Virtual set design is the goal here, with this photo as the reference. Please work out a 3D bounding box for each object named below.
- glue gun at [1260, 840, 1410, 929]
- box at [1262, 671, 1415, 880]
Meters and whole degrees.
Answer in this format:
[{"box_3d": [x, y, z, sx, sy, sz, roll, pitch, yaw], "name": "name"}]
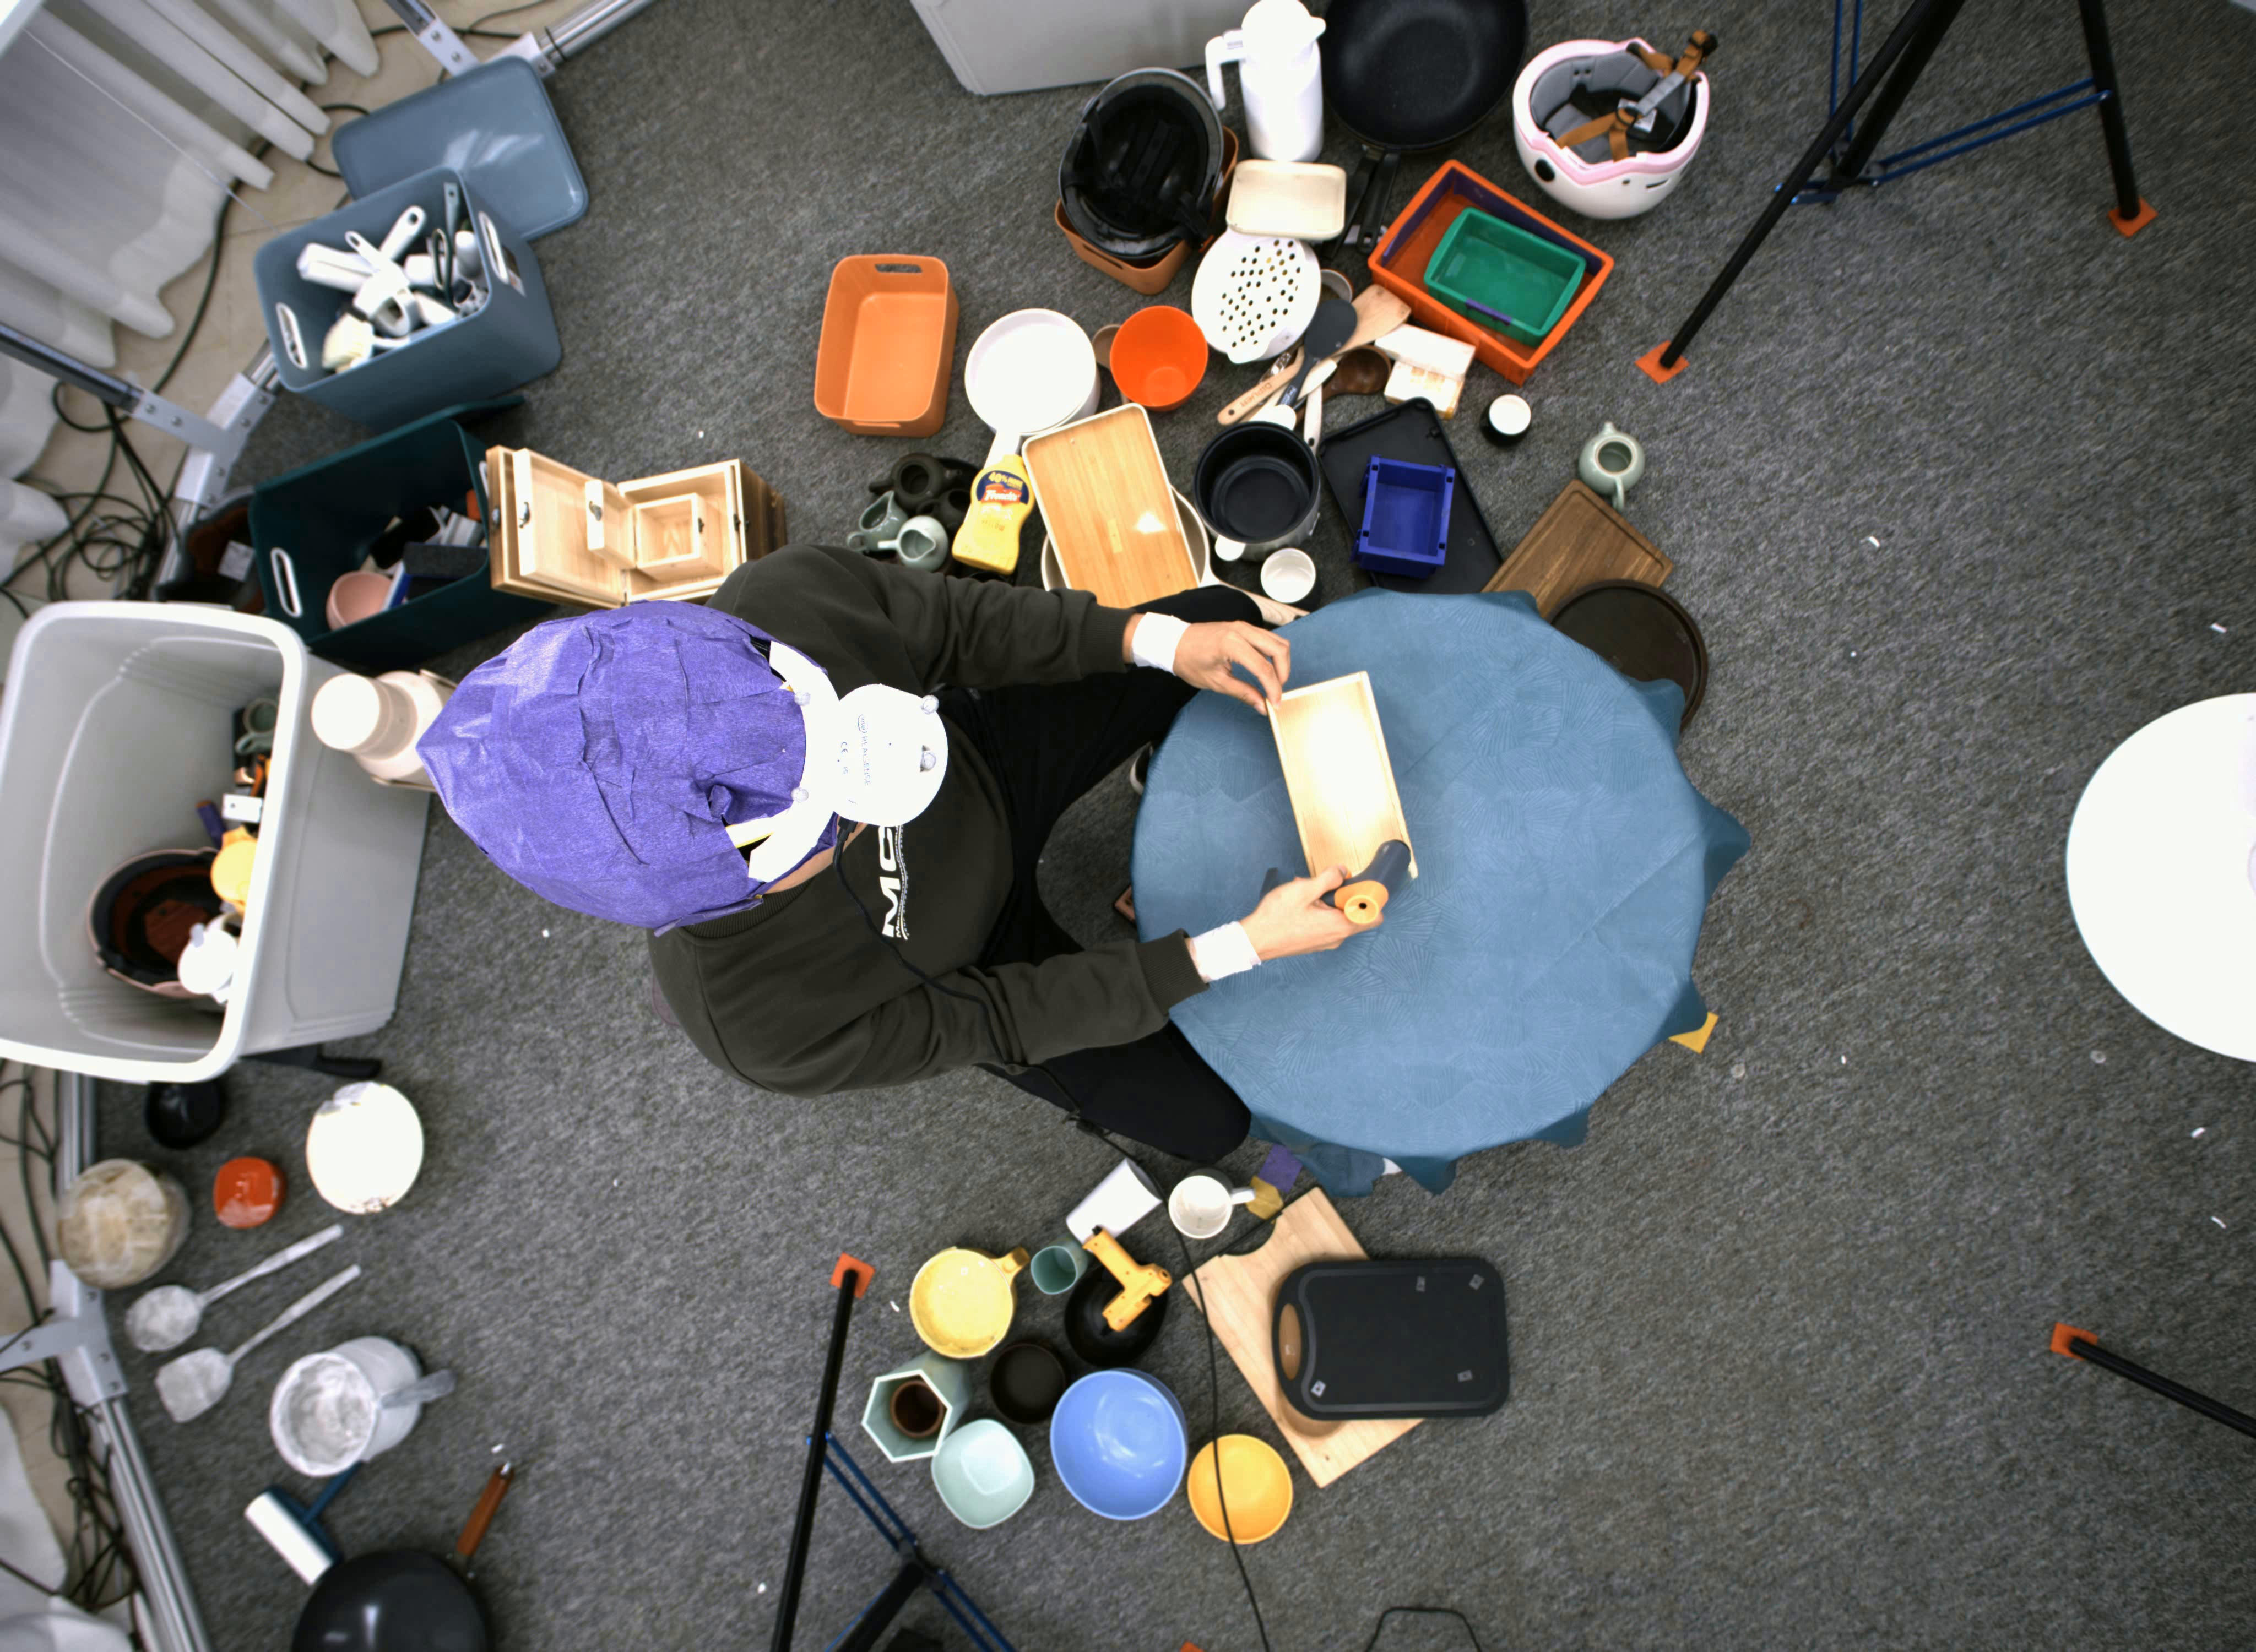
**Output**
[{"box_3d": [0.205, 0.055, 1.353, 0.141, 0.115, 0.041, -13, 112, 21], "name": "glue gun"}, {"box_3d": [0.216, -0.045, 1.415, 0.108, 0.079, 0.212, -14, 96, 10], "name": "box"}]
